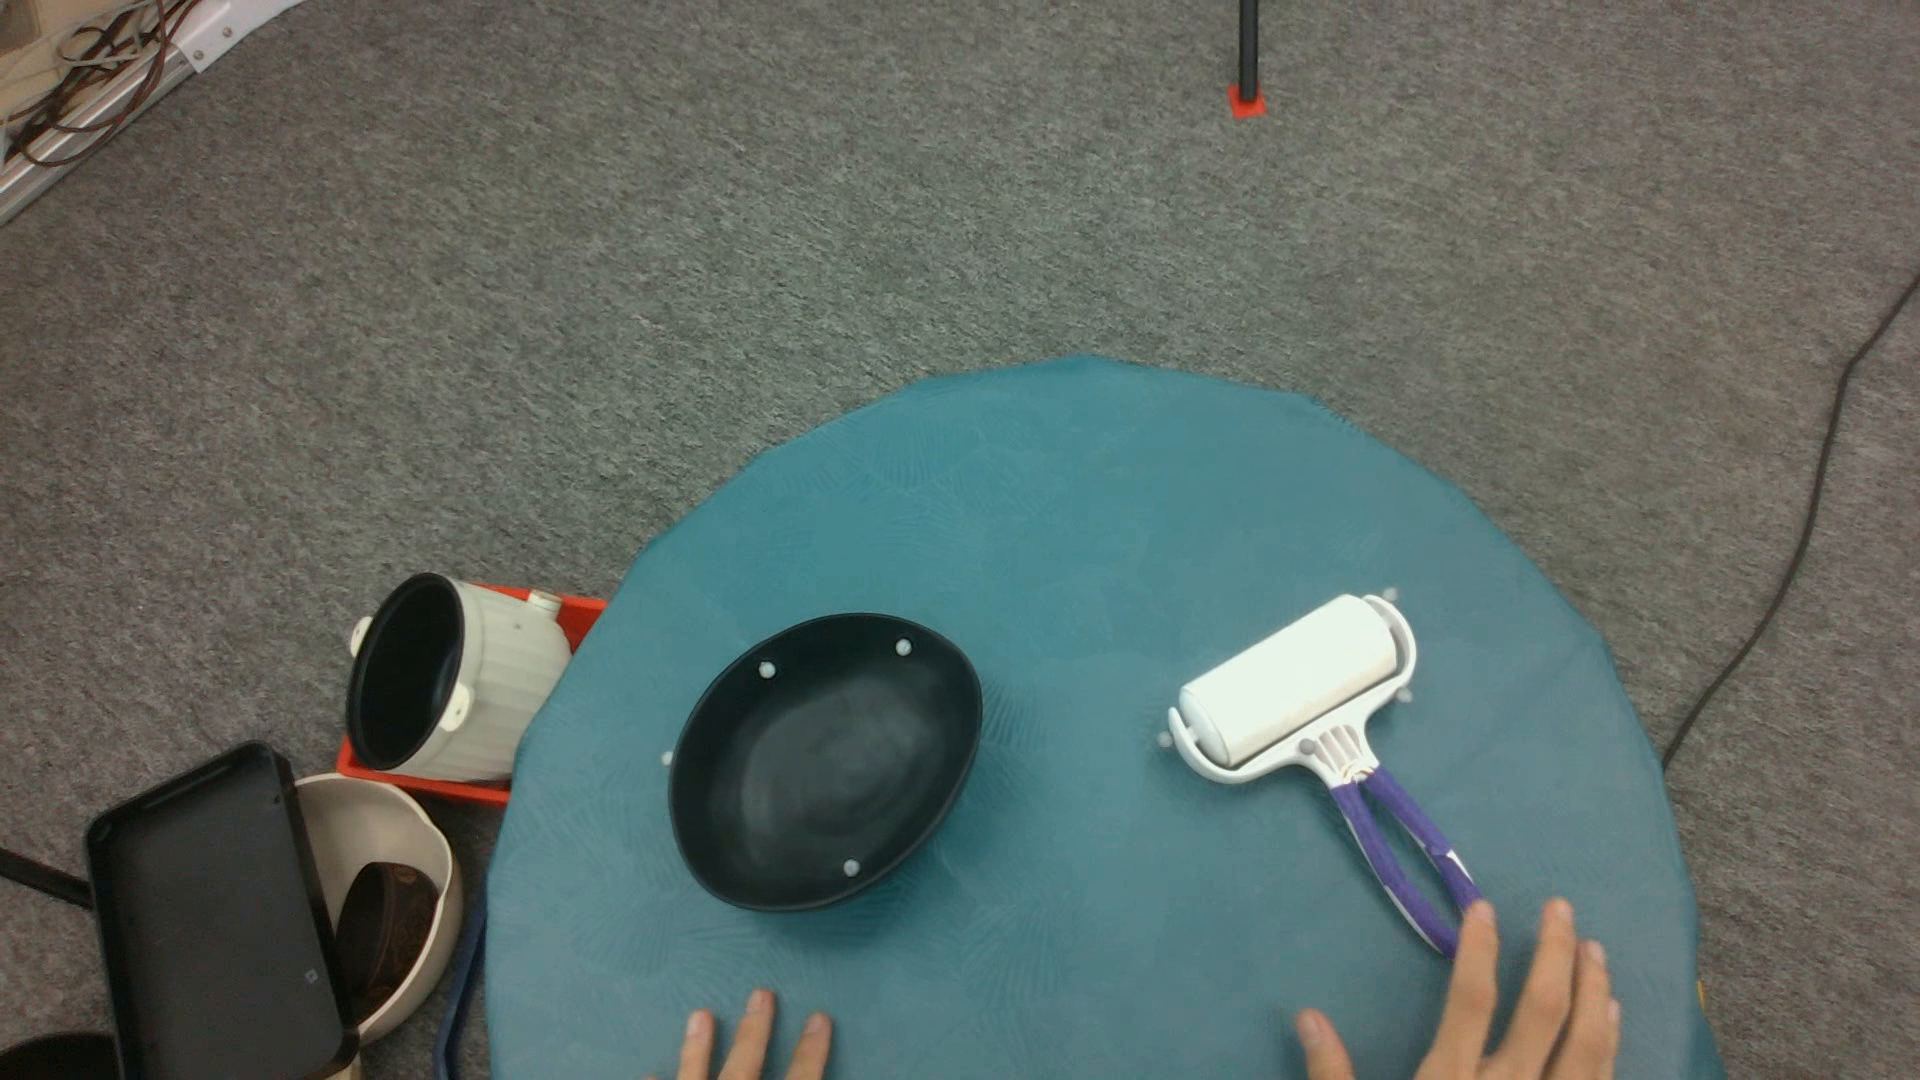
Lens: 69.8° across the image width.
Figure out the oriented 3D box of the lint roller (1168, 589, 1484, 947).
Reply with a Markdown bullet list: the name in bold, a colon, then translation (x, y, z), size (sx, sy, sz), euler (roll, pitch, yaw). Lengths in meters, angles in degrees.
- **lint roller**: translation (0.198, 0.119, 0.684), size (0.133, 0.050, 0.181), euler (-27, 60, -7)

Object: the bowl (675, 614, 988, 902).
- **bowl**: translation (-0.062, 0.115, 0.711), size (0.171, 0.066, 0.137), euler (-42, 66, -16)
